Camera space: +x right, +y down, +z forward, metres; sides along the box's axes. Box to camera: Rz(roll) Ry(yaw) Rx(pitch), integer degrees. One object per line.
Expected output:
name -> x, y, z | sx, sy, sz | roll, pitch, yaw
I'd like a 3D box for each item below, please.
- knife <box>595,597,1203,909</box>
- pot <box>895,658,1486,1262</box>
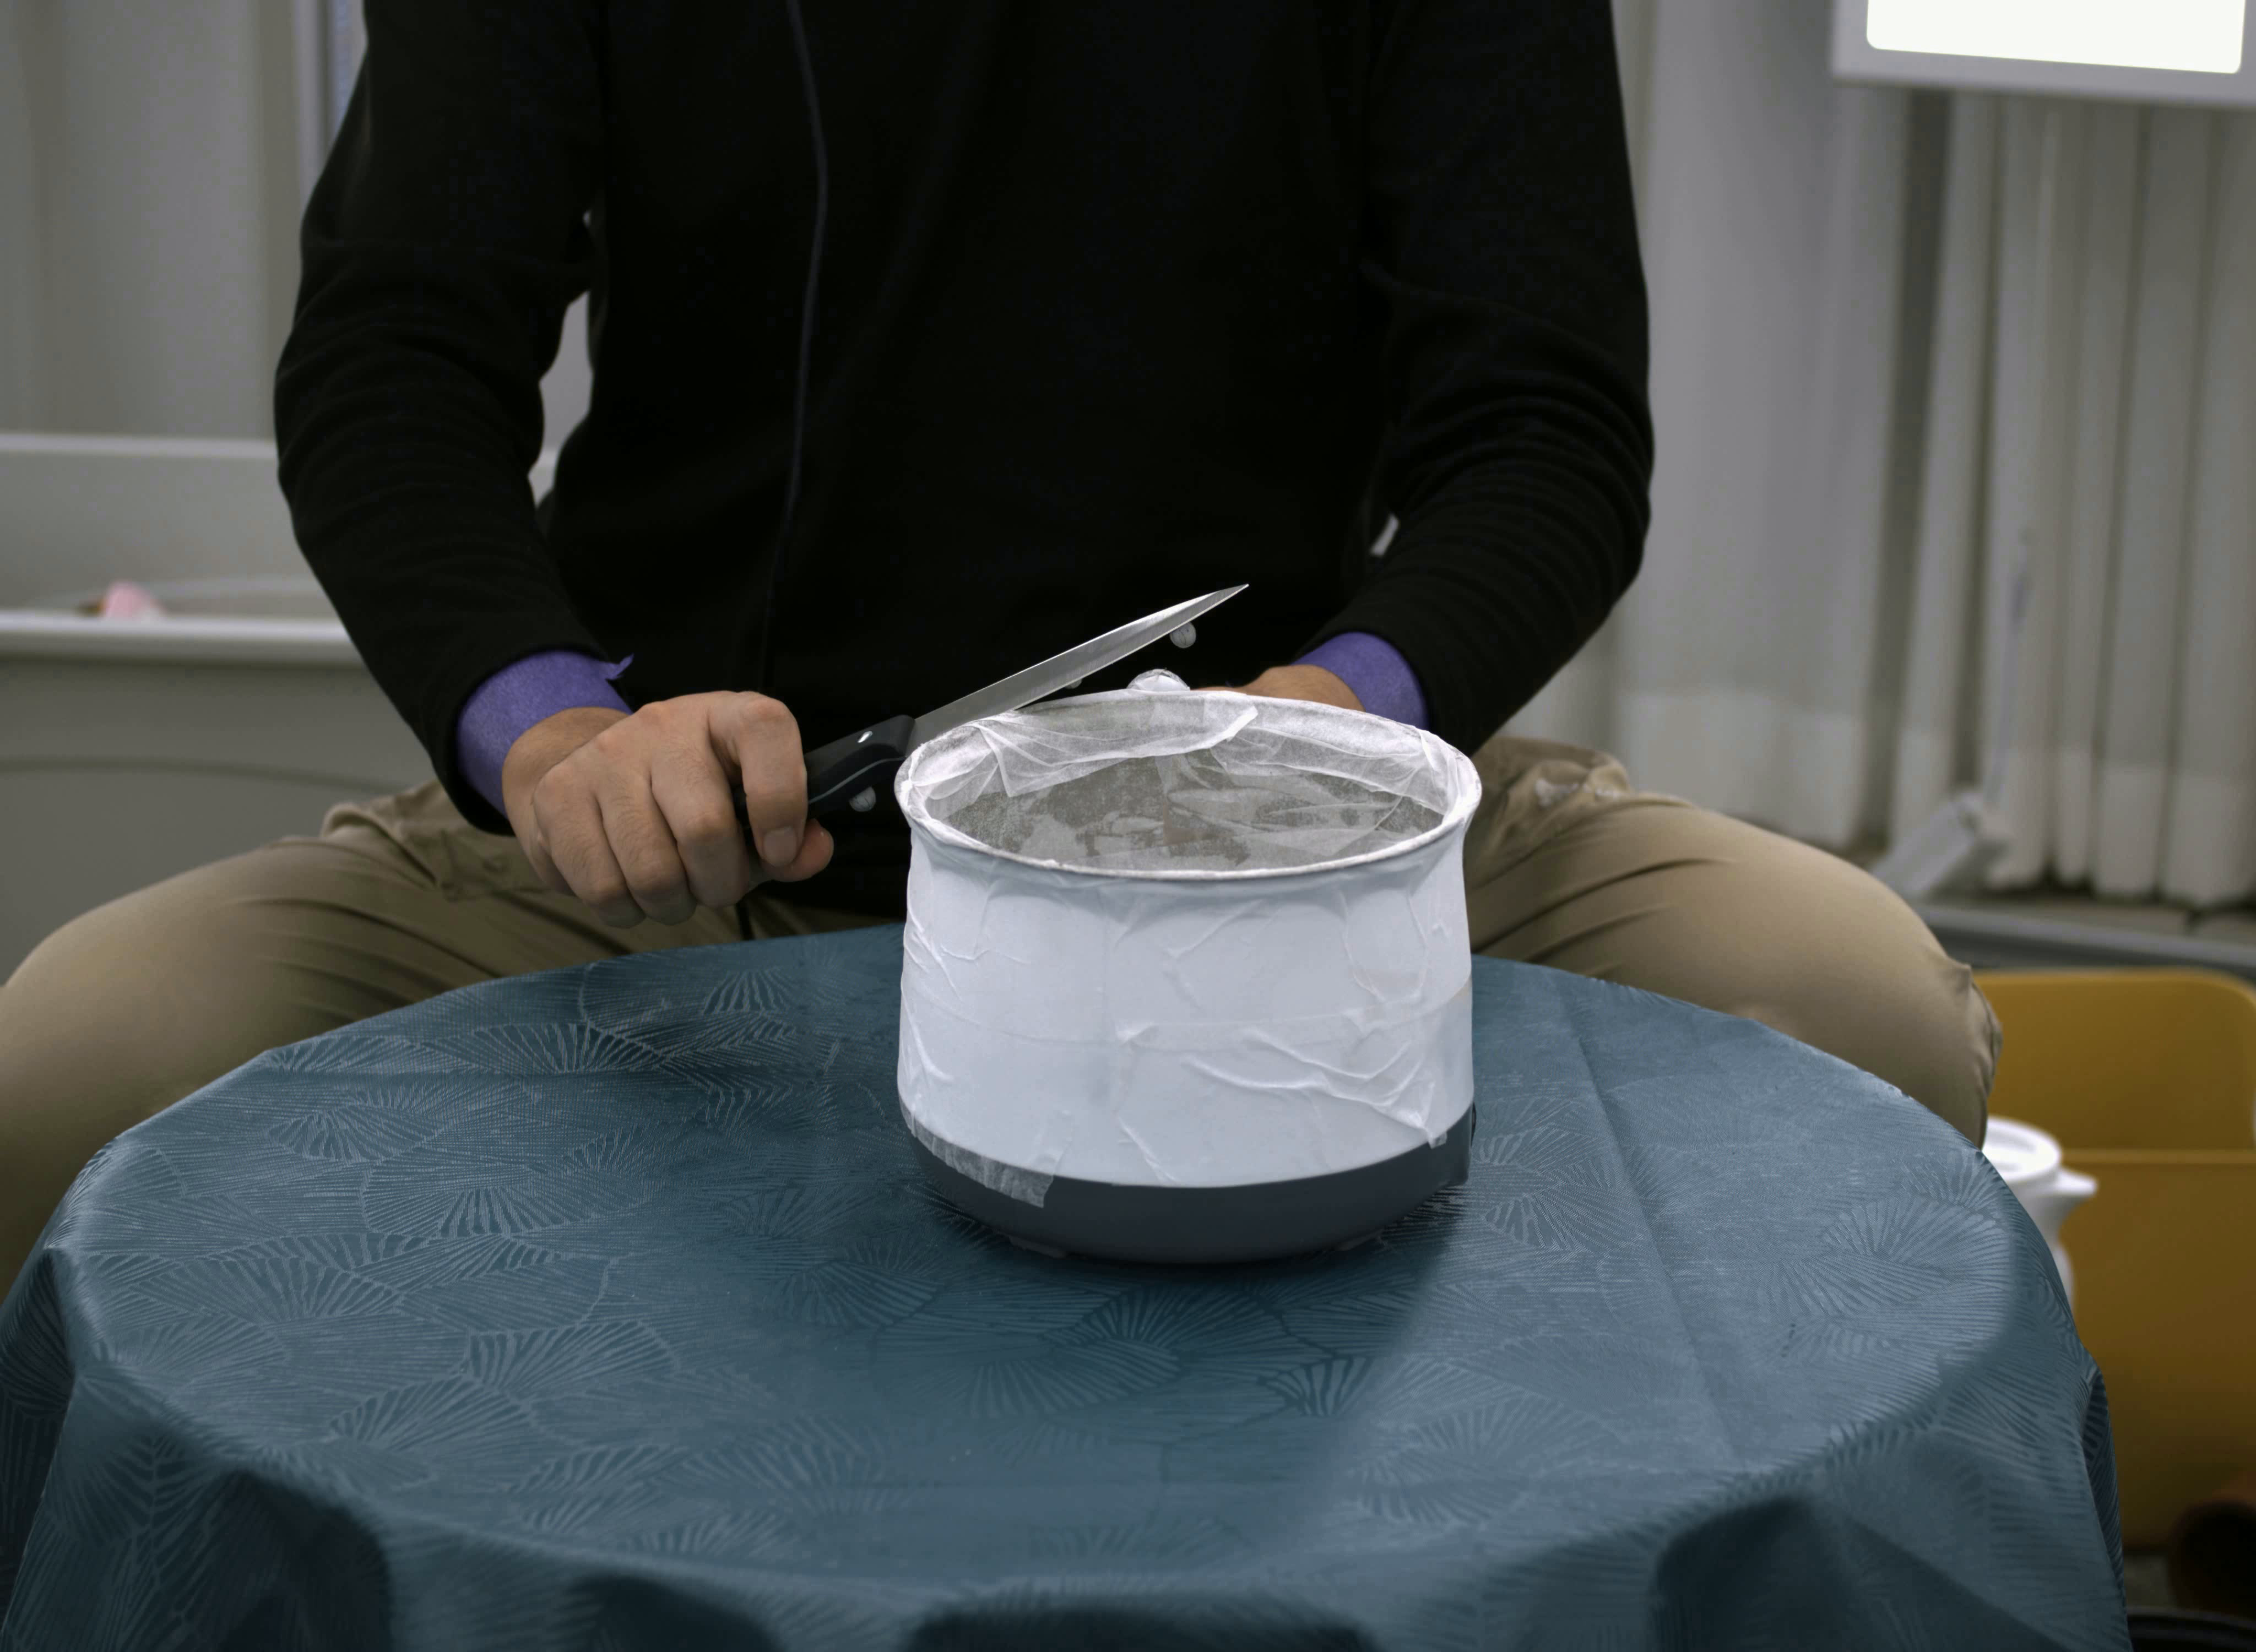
knife -> -0.073, -0.026, 1.659 | 0.237, 0.016, 0.024 | -25, 30, 26
pot -> 0.015, 0.035, 1.622 | 0.178, 0.138, 0.232 | -1, 20, -6
